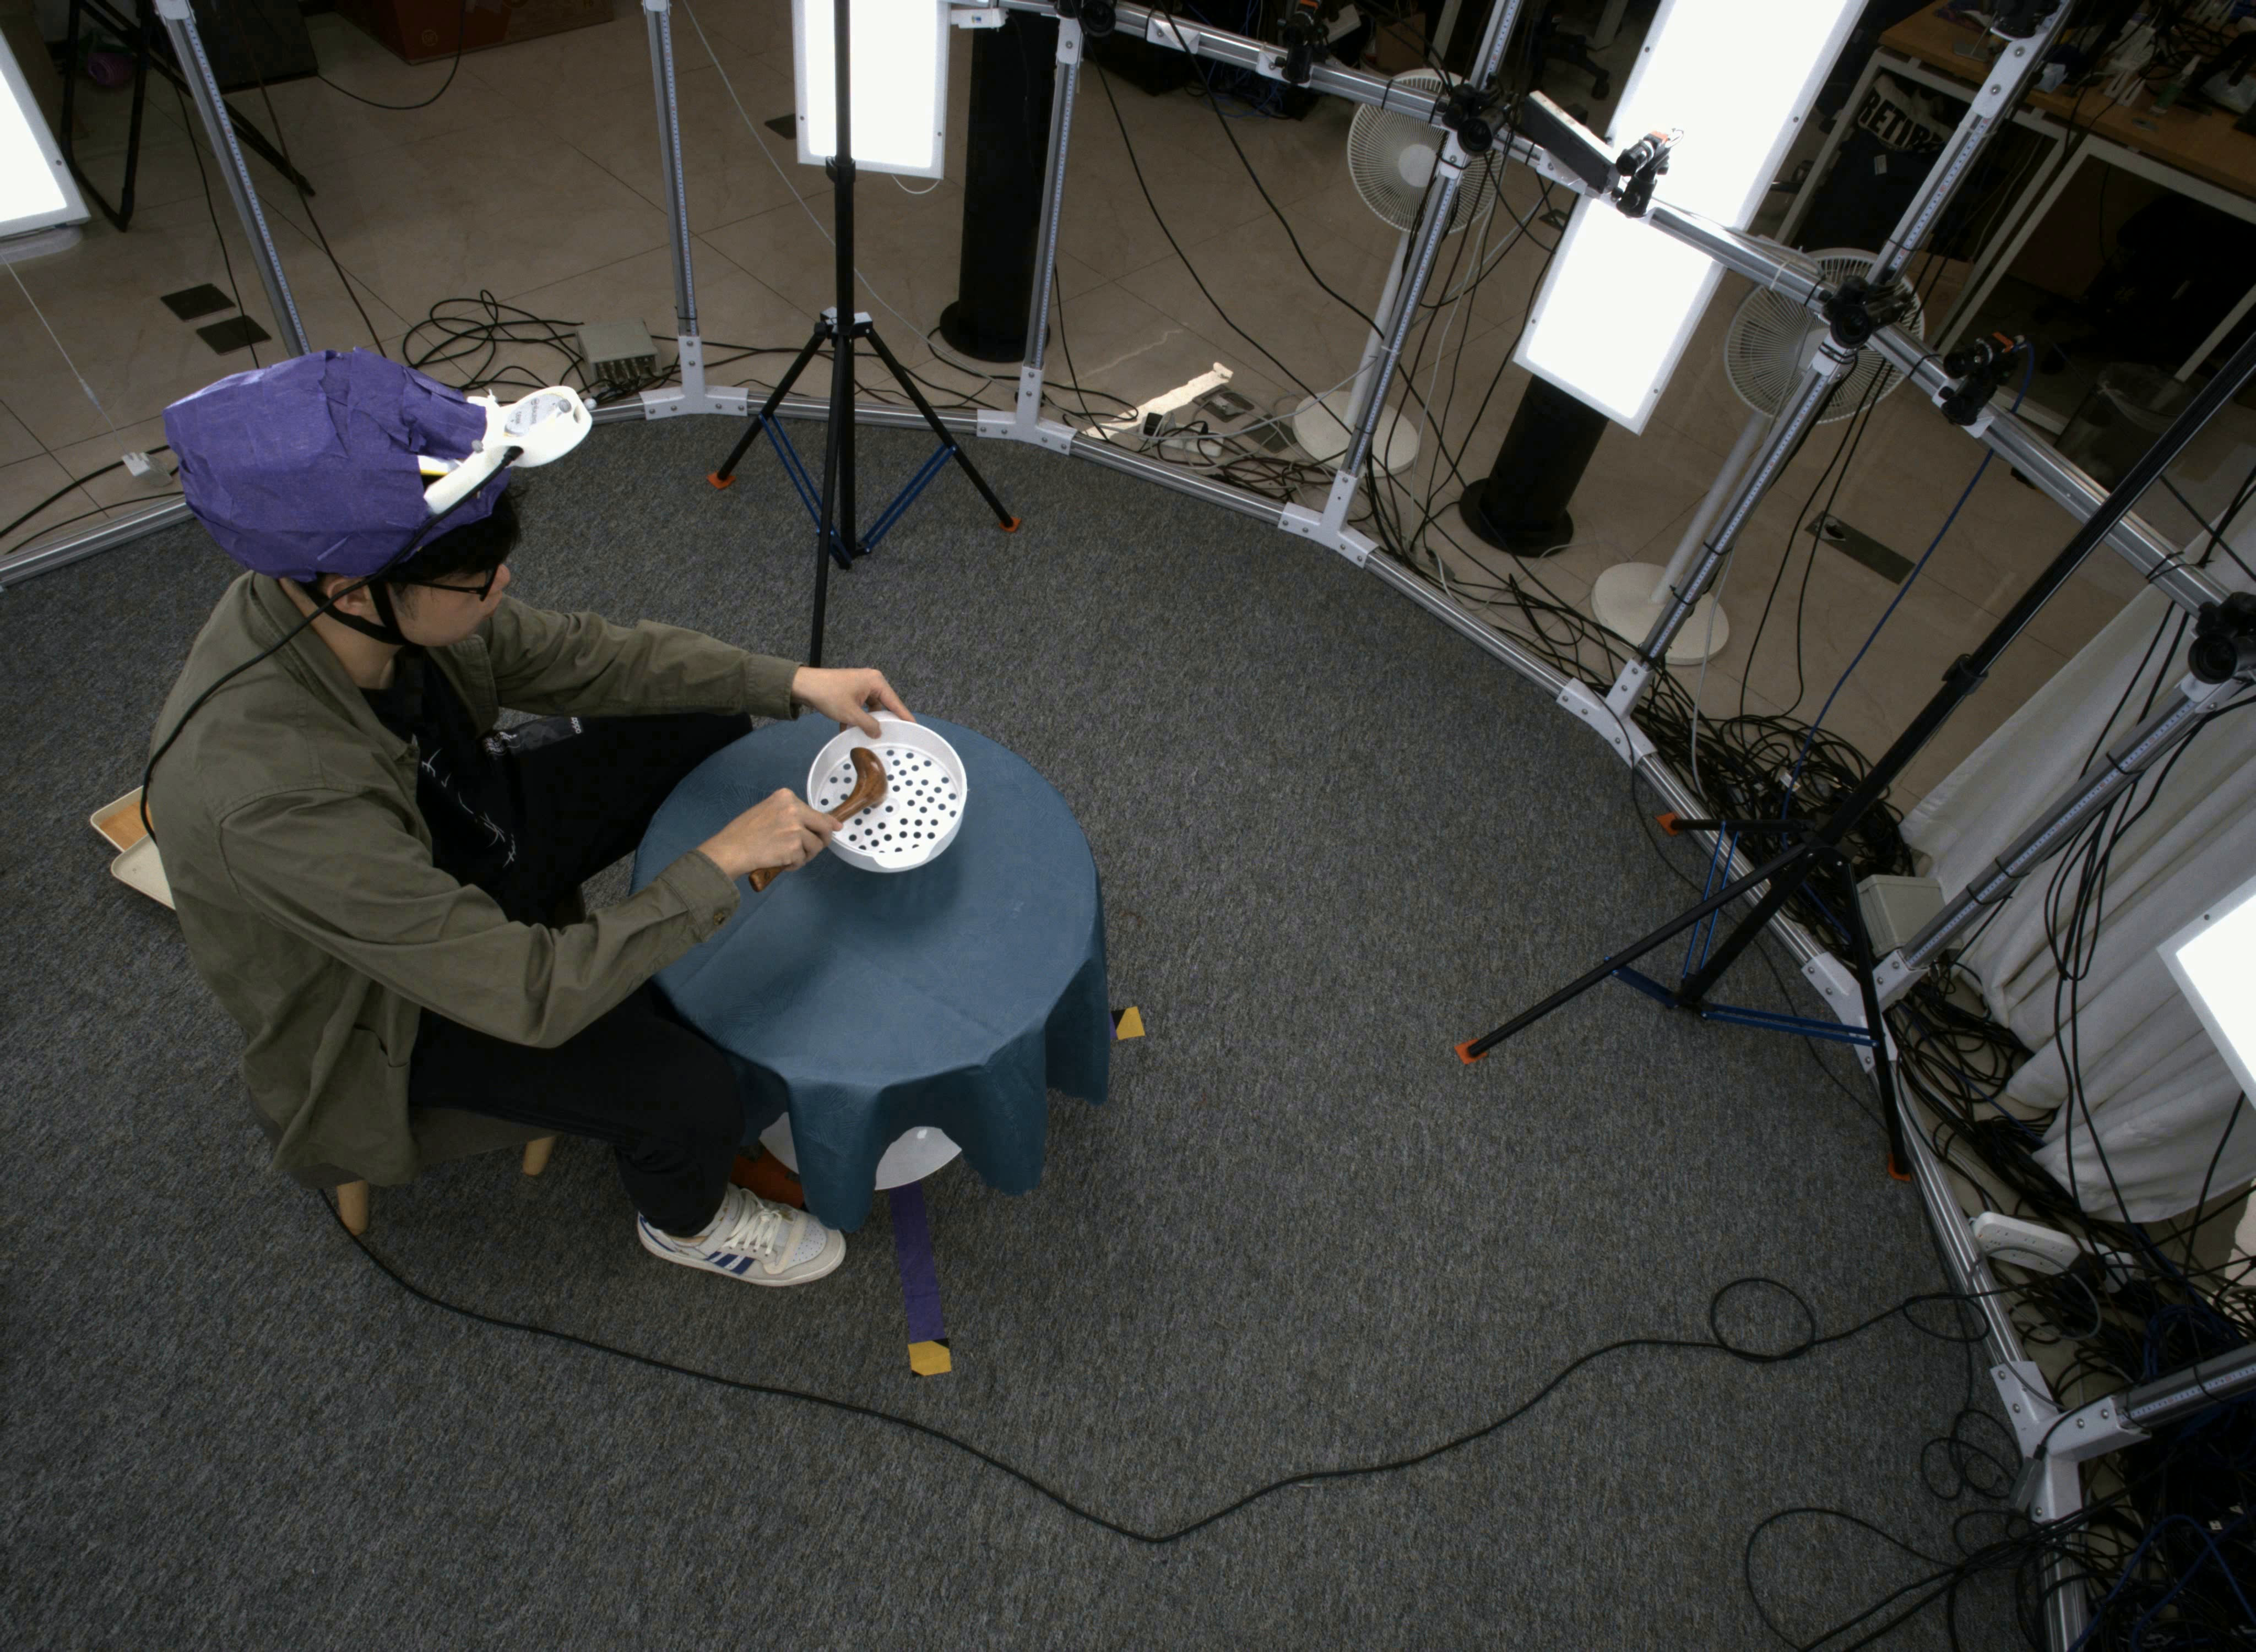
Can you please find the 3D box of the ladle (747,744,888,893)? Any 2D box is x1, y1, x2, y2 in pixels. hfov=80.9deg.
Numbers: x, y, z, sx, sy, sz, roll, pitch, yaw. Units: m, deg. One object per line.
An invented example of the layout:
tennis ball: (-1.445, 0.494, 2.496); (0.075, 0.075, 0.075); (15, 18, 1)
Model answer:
ladle: (-0.385, -0.011, 1.576); (0.074, 0.085, 0.274); (7, 35, 34)

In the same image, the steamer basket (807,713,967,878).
steamer basket: (-0.309, -0.033, 1.678); (0.202, 0.070, 0.227); (-11, 66, -15)
